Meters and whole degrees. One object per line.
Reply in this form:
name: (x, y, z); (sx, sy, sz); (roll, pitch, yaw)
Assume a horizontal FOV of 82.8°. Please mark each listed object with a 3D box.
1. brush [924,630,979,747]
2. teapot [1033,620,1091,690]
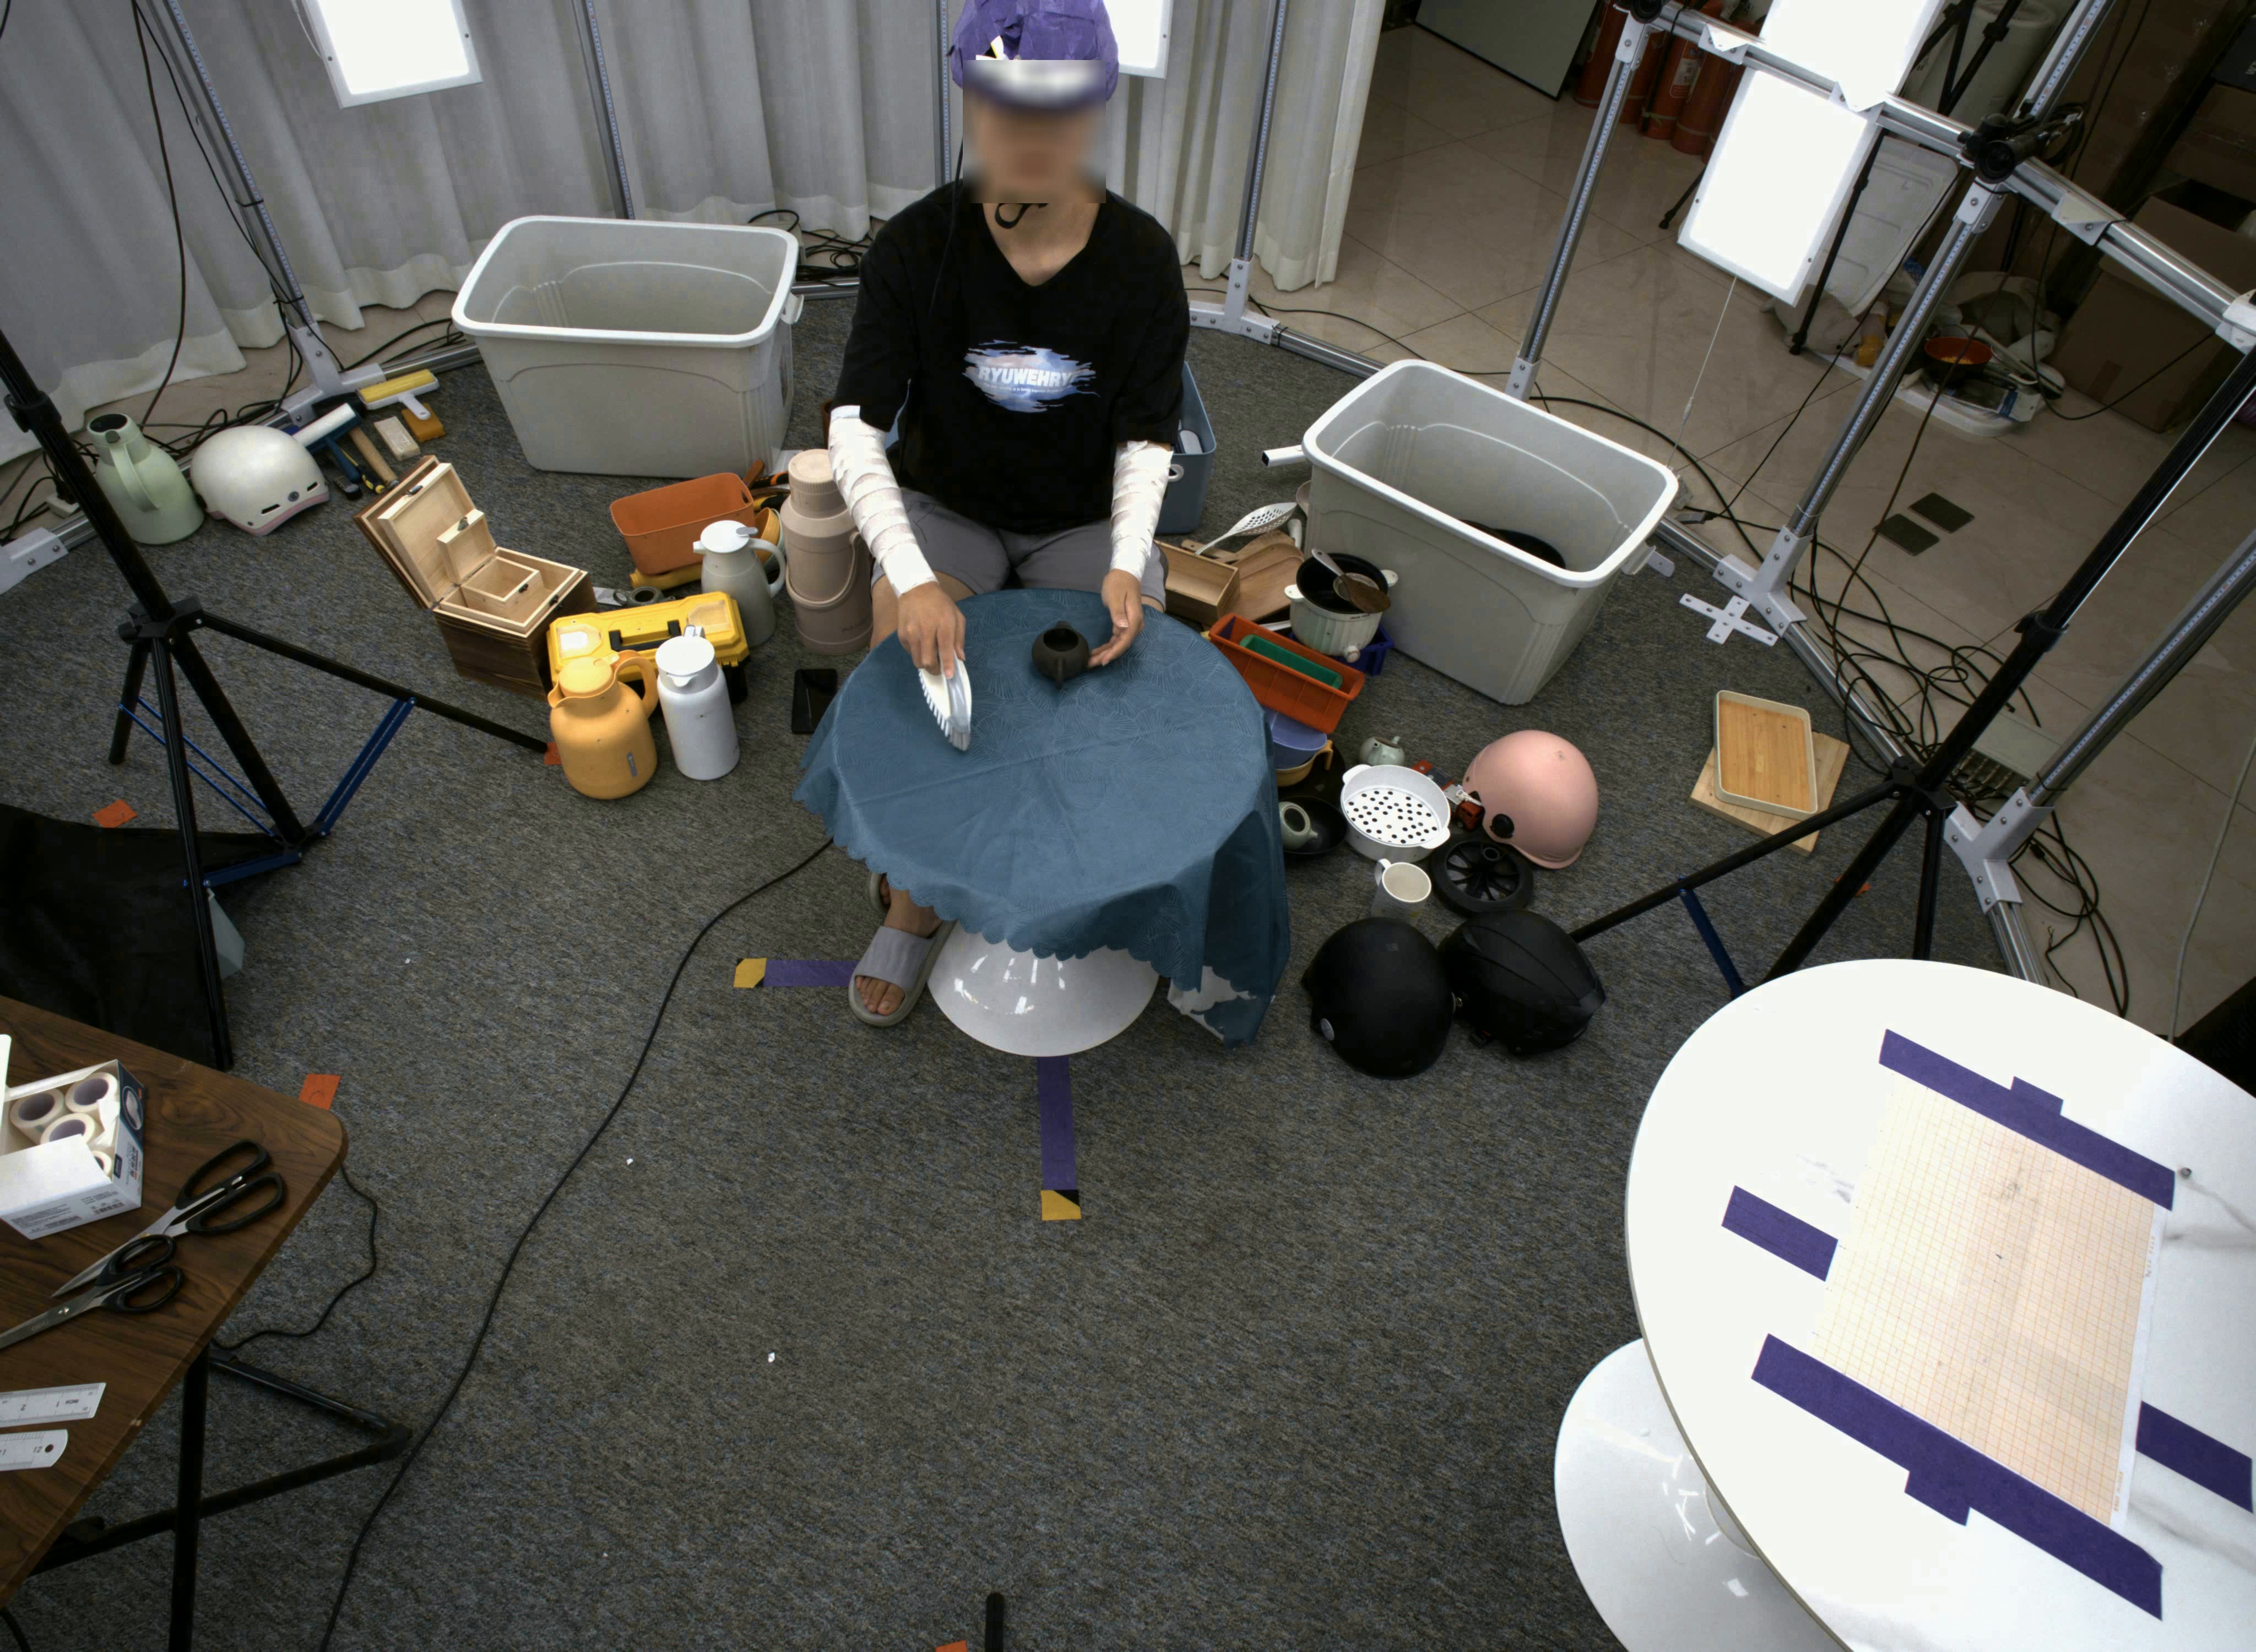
brush: (-0.238, -0.197, 1.762); (0.061, 0.092, 0.180); (-13, 52, -12)
teapot: (-0.096, -0.243, 1.843); (0.083, 0.052, 0.117); (3, 48, -1)
